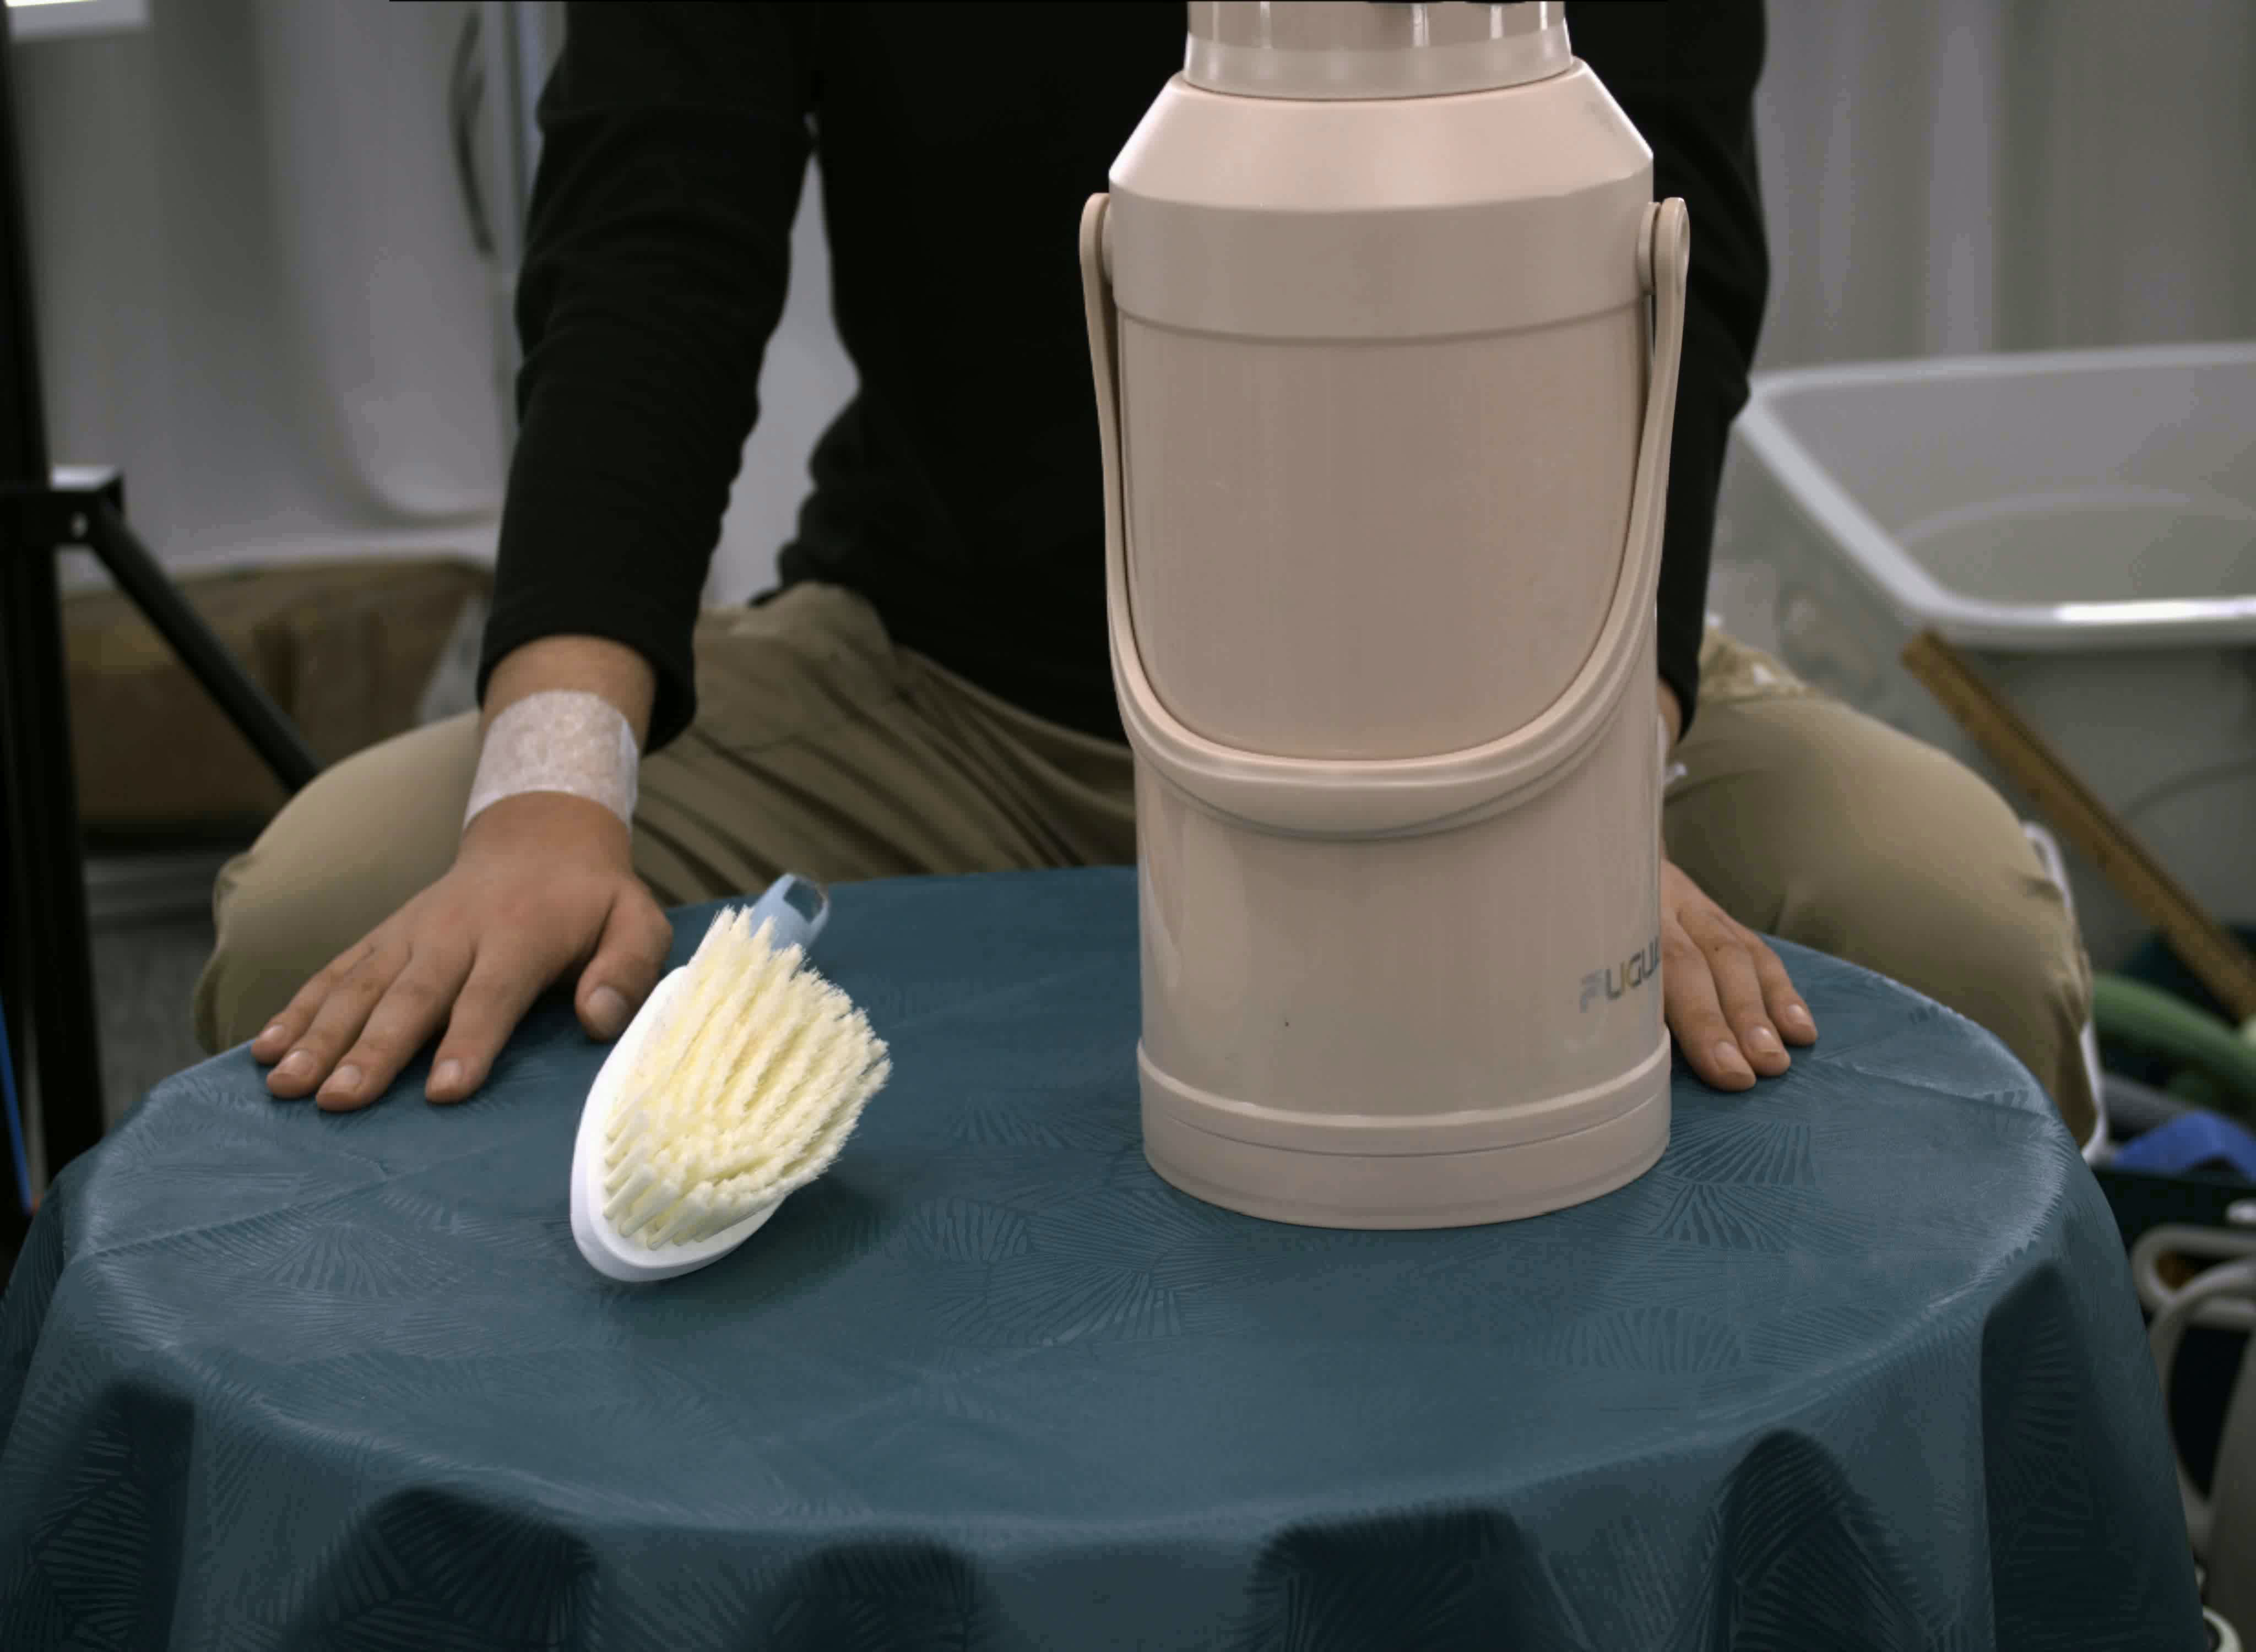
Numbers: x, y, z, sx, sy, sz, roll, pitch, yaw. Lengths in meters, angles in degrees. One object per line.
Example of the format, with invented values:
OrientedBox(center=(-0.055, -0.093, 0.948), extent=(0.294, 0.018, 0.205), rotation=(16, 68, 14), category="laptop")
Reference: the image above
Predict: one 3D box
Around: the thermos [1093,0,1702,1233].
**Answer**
OrientedBox(center=(0.084, -0.100, 1.551), extent=(0.177, 0.406, 0.205), rotation=(1, 15, 17), category="thermos")

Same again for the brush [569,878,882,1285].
OrientedBox(center=(-0.109, 0.050, 1.635), extent=(0.085, 0.083, 0.325), rotation=(-5, 17, 8), category="brush")
